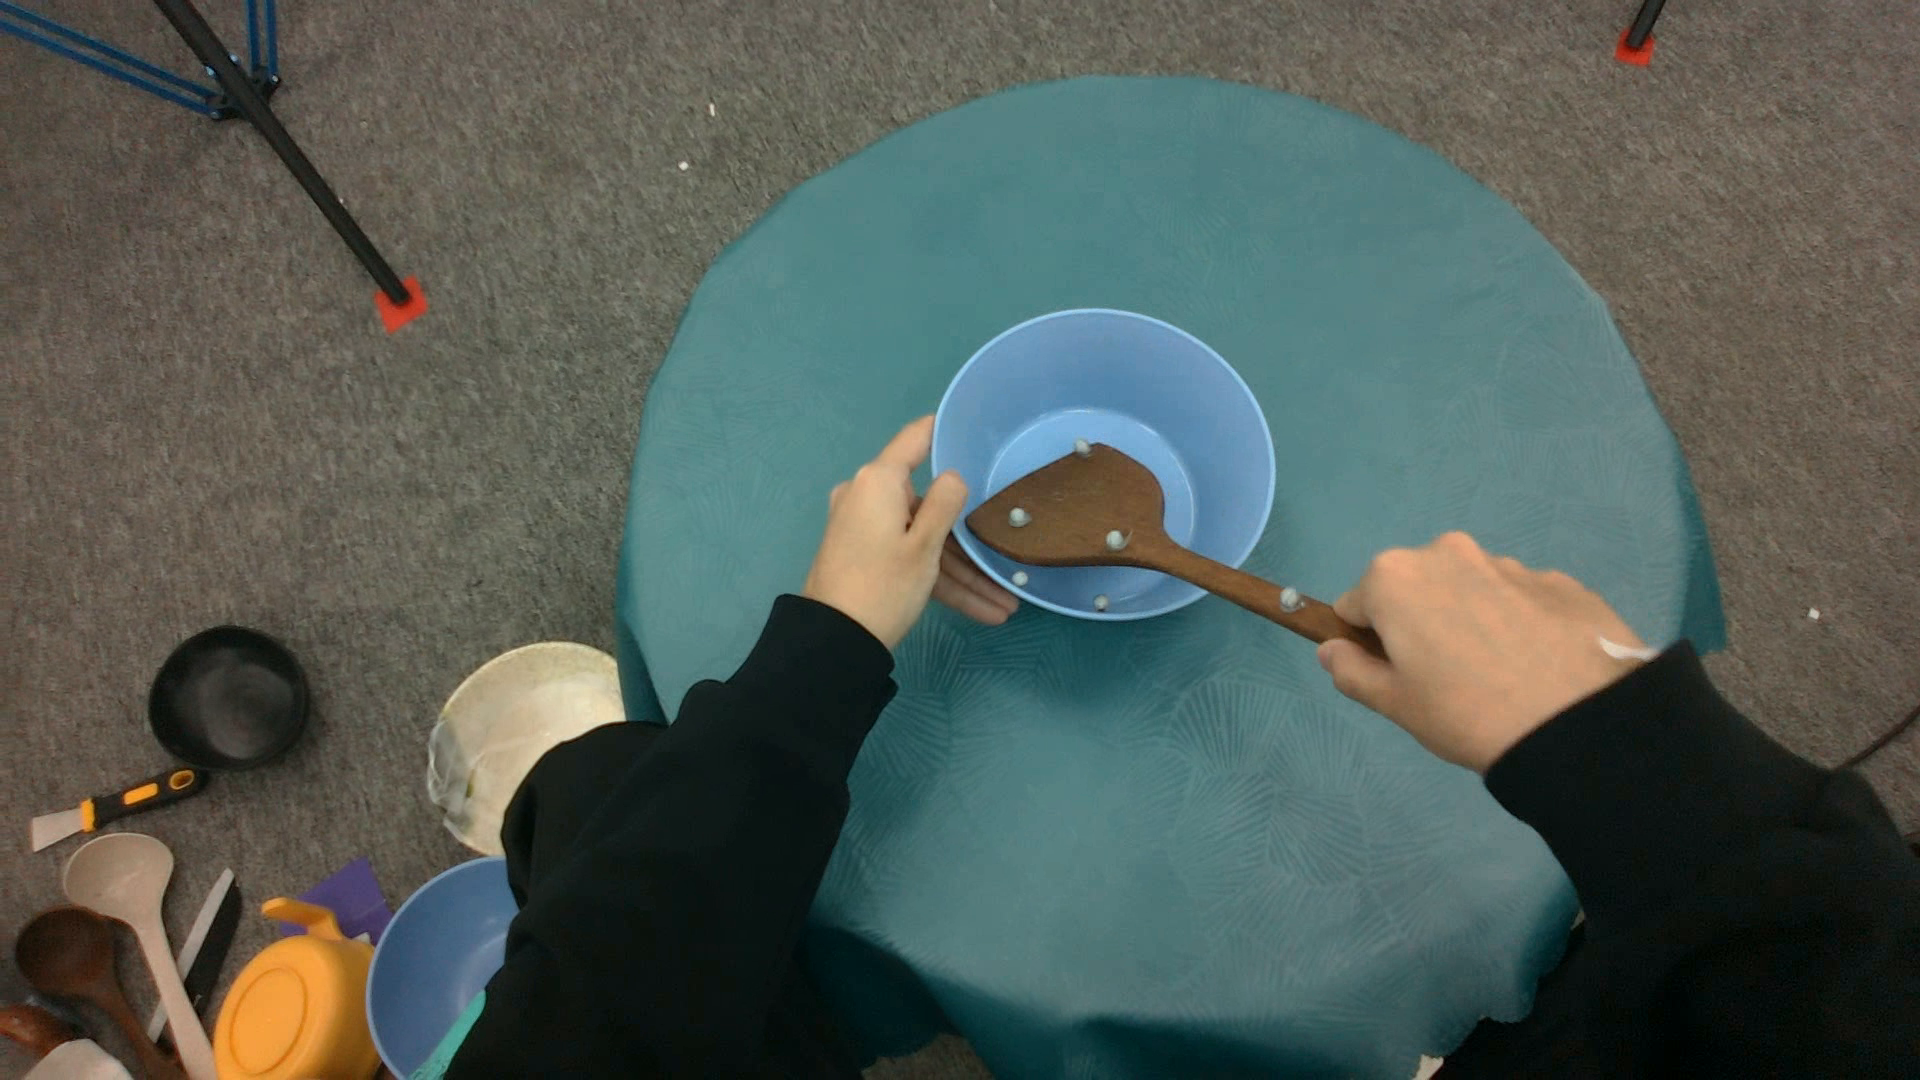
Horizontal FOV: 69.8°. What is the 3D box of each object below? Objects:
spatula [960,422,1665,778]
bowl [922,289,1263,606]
[{"bbox_3d":[0.122,0.013,0.583,0.096,0.016,0.386,-32,29,-17],"label":"spatula"},{"bbox_3d":[0.067,-0.040,0.730,0.176,0.070,0.176,1,70,-3],"label":"bowl"}]
